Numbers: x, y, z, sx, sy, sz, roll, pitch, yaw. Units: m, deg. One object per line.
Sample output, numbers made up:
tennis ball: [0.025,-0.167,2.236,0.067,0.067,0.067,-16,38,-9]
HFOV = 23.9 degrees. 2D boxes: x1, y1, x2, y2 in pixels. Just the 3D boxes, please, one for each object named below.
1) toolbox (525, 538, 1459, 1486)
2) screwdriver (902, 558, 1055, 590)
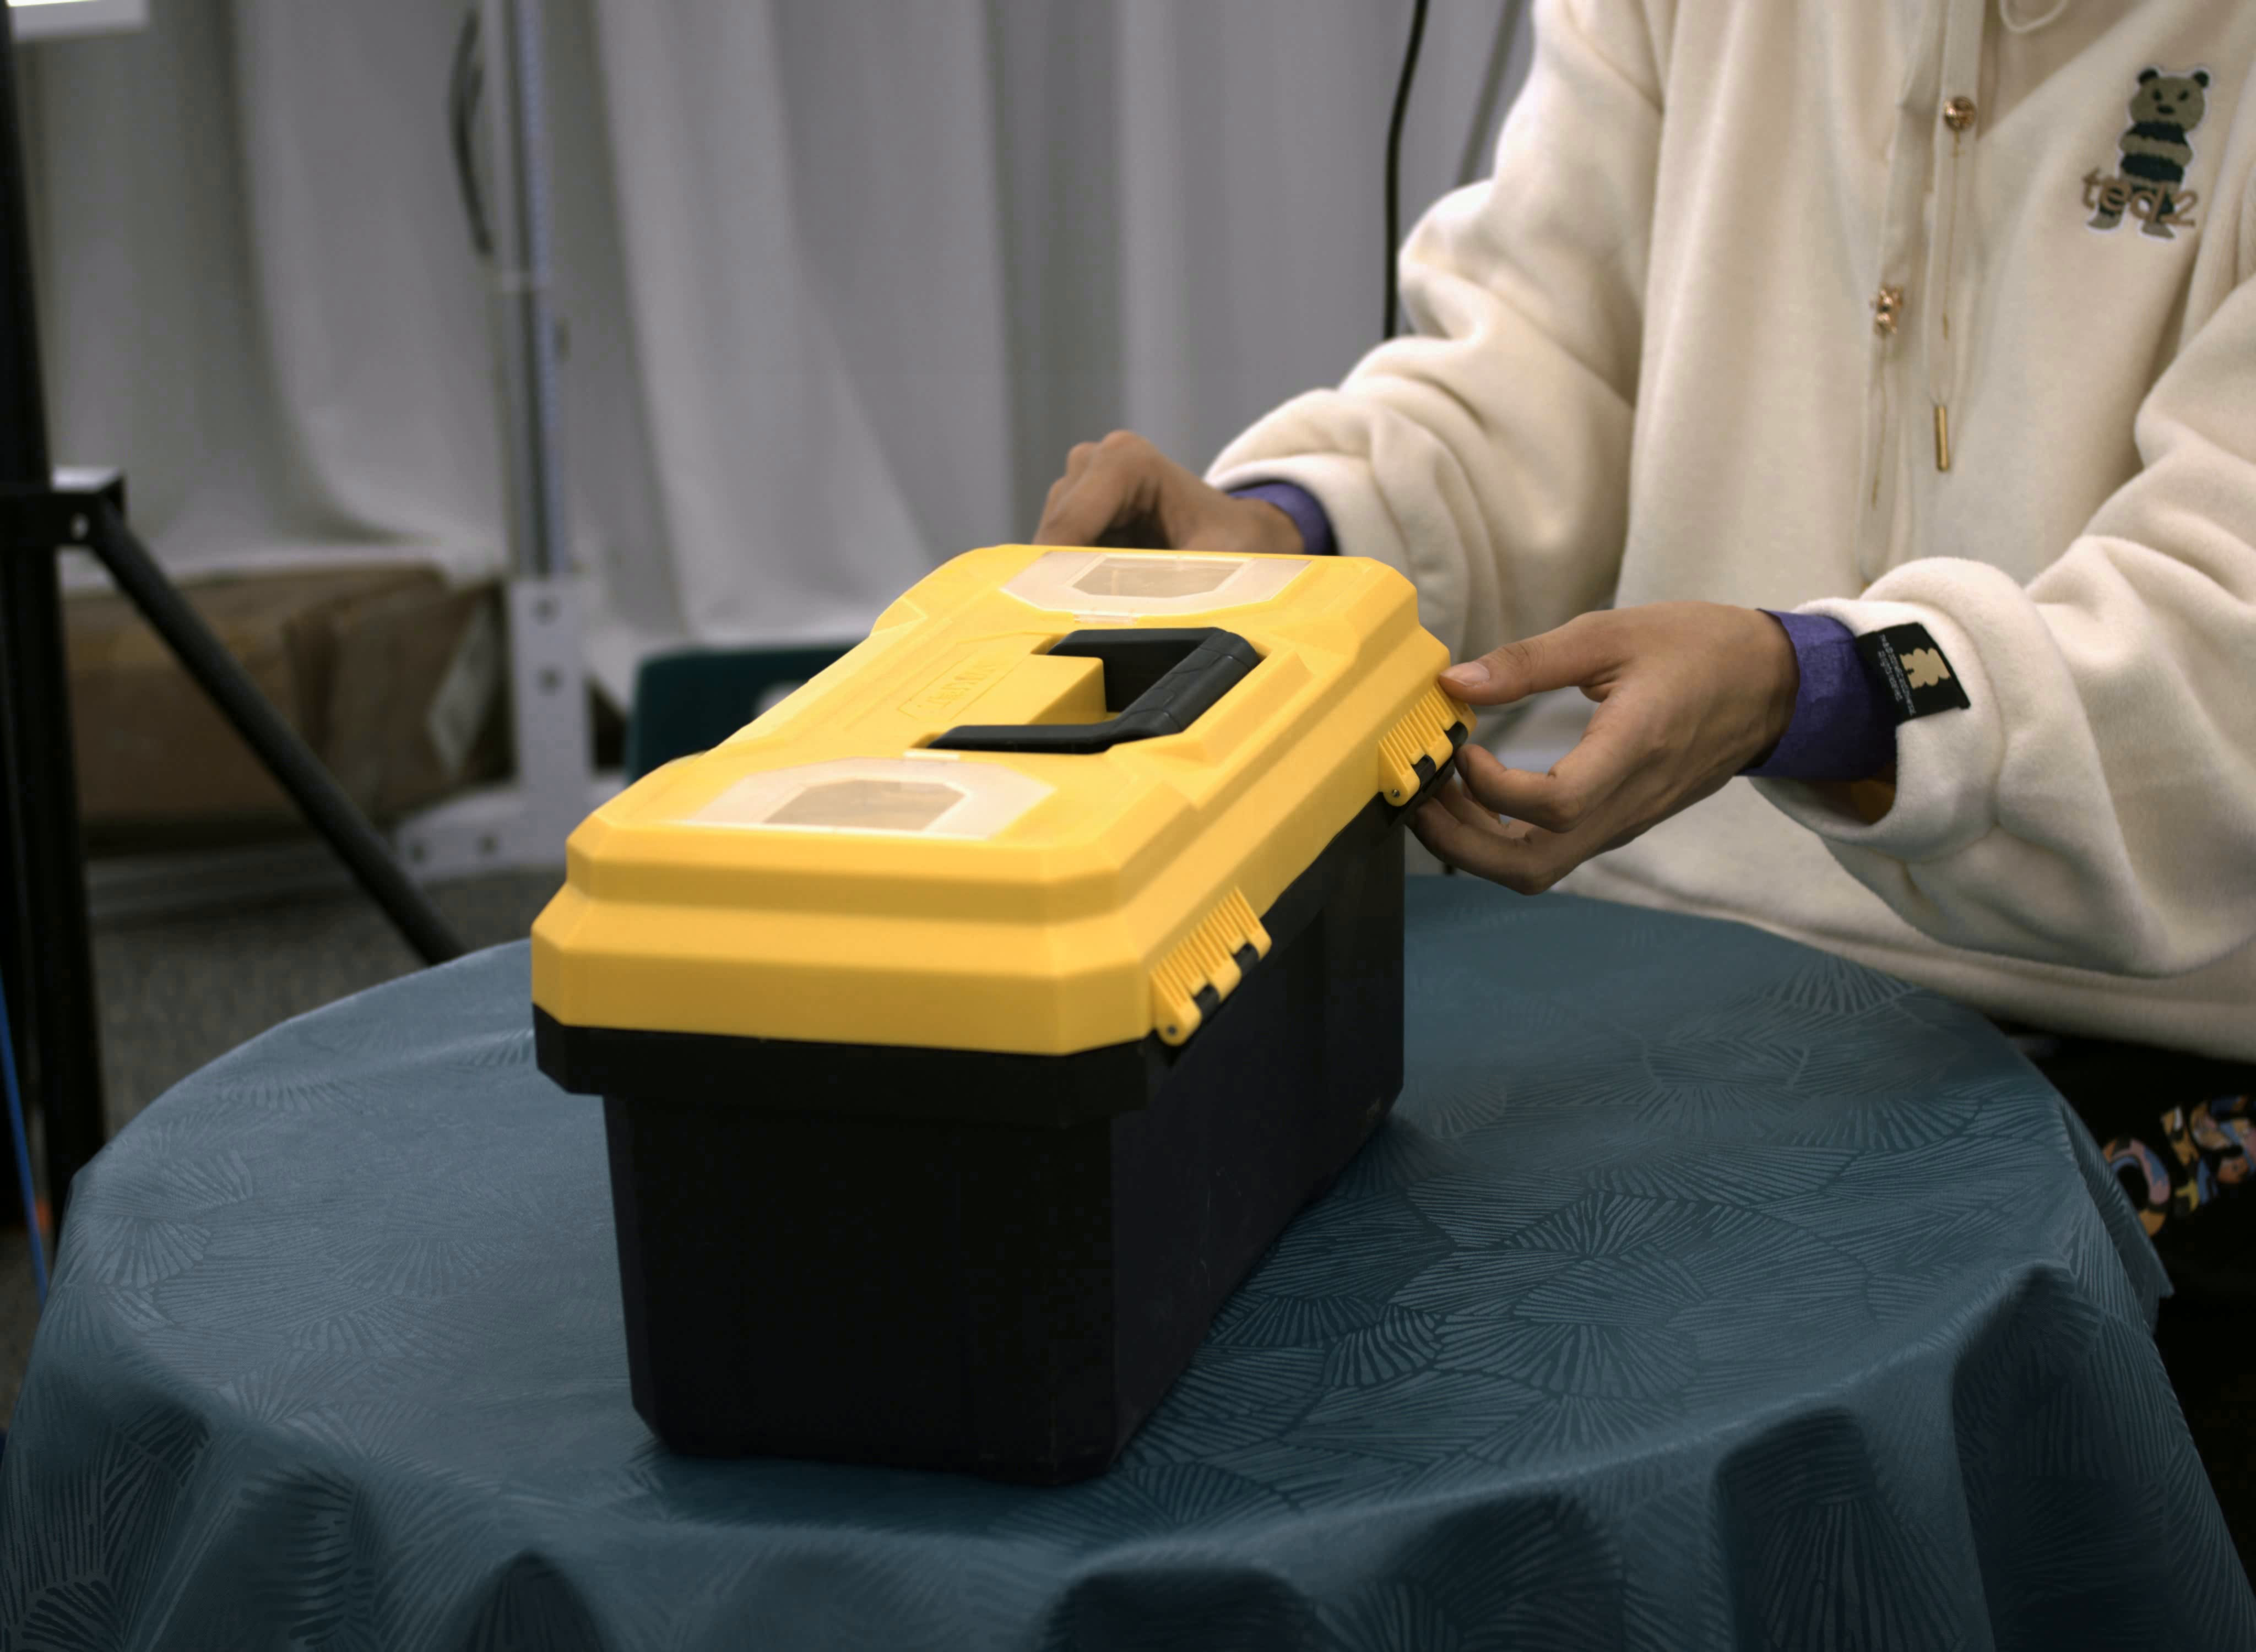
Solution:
toolbox: [-0.026,0.041,1.480,0.183,0.173,0.348,3,17,18]
screwdriver: [-0.025,-0.074,1.736,0.034,0.034,0.186,7,2,28]
